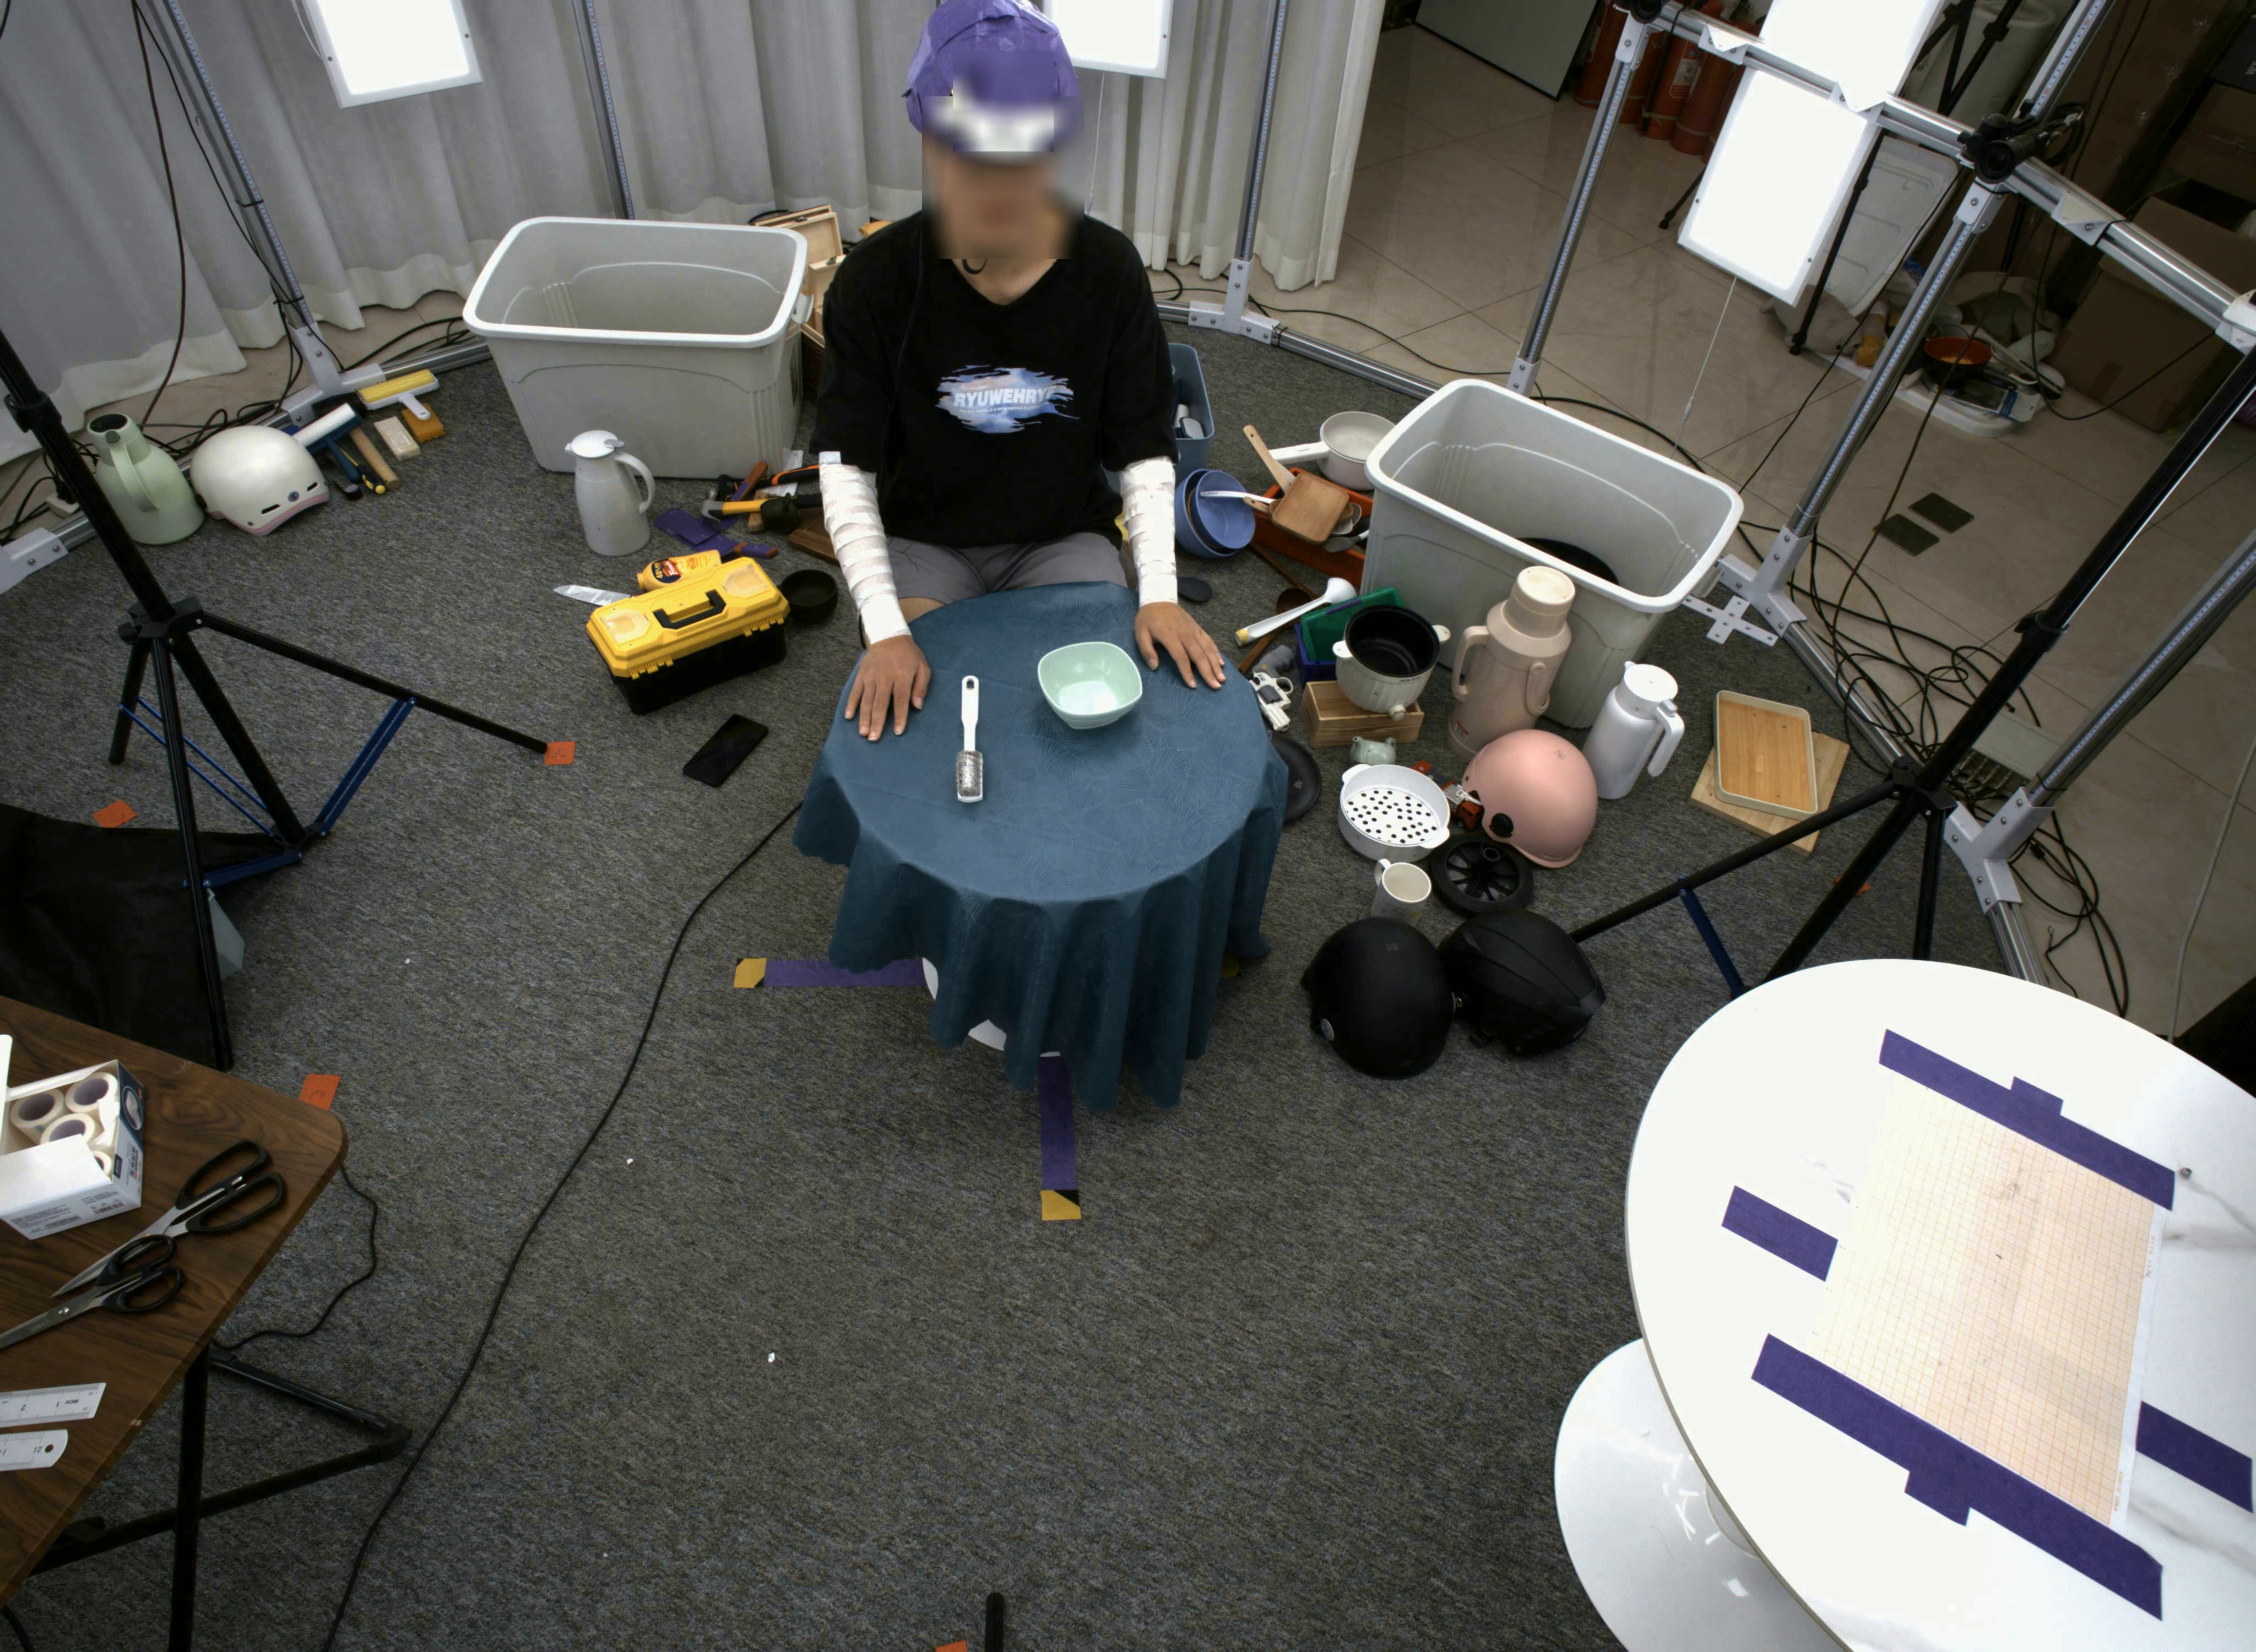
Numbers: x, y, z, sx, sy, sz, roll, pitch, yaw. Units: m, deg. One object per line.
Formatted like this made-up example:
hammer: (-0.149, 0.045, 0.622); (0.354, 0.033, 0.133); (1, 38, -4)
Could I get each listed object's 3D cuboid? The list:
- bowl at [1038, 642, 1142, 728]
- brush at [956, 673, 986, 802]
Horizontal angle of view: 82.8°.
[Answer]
bowl: (-0.055, -0.189, 1.796); (0.151, 0.057, 0.155); (3, 49, -3)
brush: (-0.210, -0.133, 1.742); (0.034, 0.049, 0.250); (1, 51, -3)
